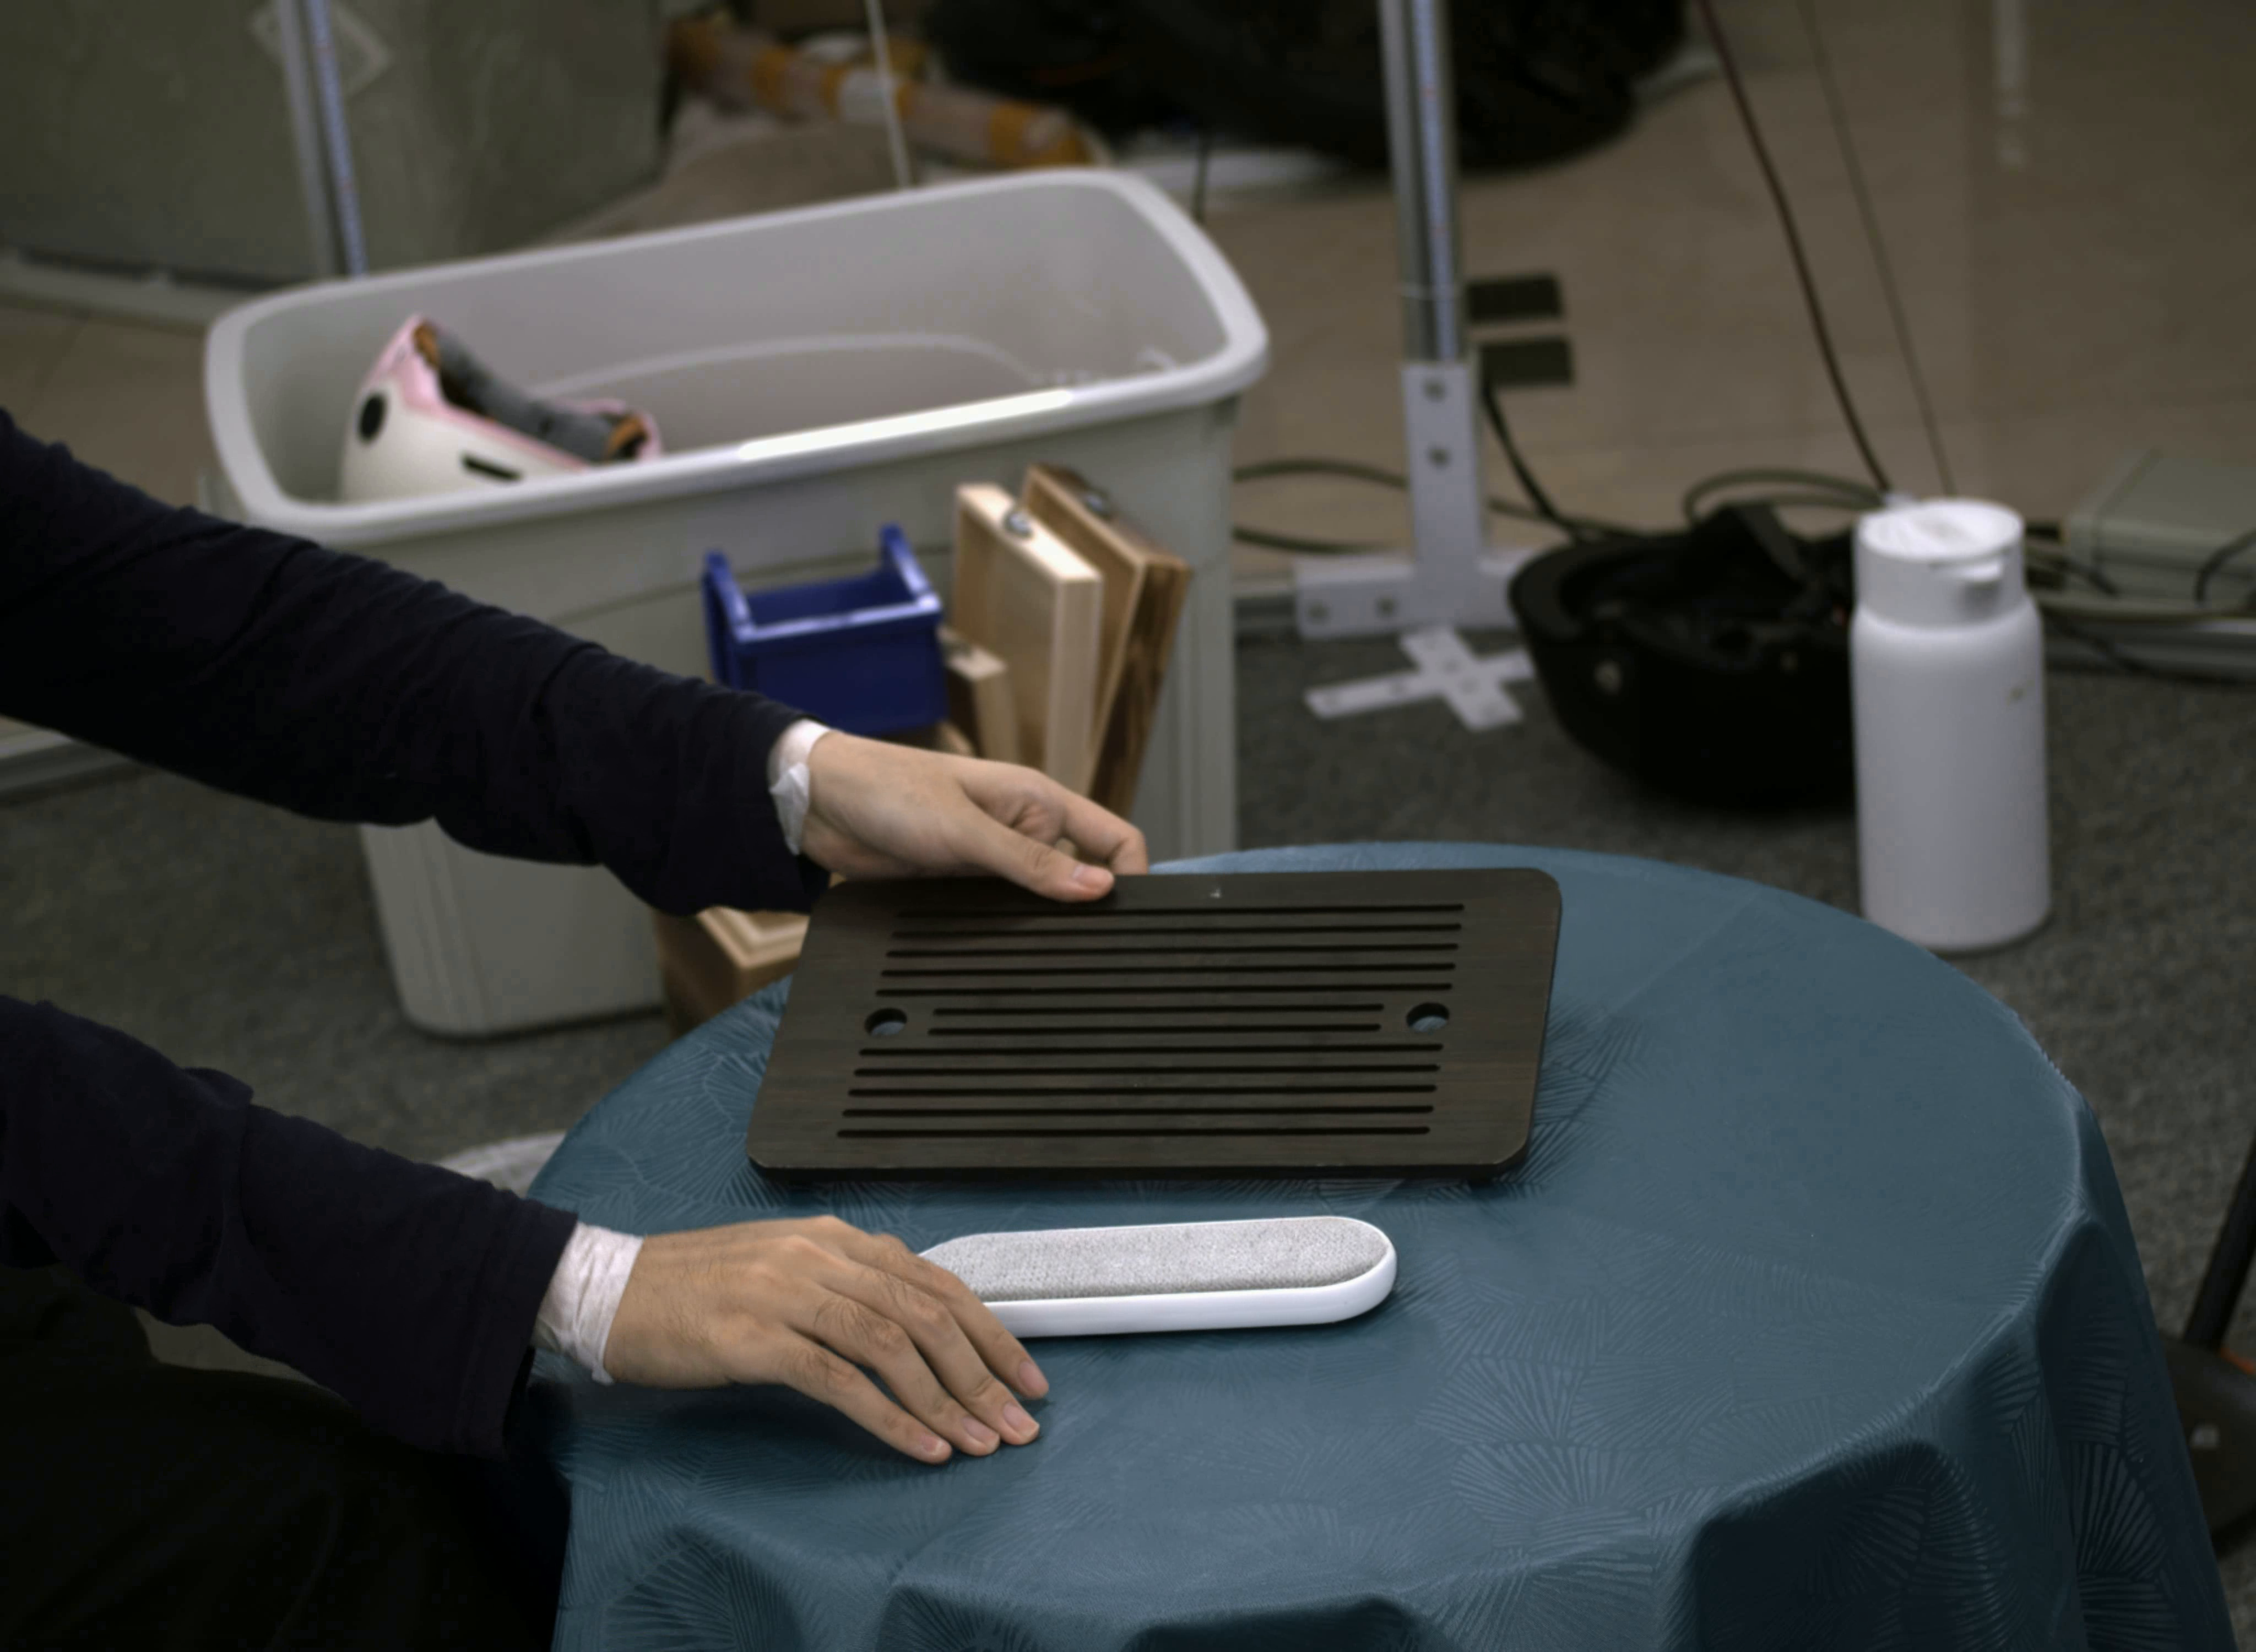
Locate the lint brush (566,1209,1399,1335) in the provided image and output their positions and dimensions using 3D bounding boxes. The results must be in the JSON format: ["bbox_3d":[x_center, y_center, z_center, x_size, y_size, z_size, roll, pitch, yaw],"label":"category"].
[{"bbox_3d":[-0.055,0.165,2.077,0.308,0.021,0.059,-3,31,8],"label":"lint brush"}]

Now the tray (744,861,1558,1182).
[{"bbox_3d":[0.011,0.078,2.210,0.305,0.019,0.167,-2,41,11],"label":"tray"}]
